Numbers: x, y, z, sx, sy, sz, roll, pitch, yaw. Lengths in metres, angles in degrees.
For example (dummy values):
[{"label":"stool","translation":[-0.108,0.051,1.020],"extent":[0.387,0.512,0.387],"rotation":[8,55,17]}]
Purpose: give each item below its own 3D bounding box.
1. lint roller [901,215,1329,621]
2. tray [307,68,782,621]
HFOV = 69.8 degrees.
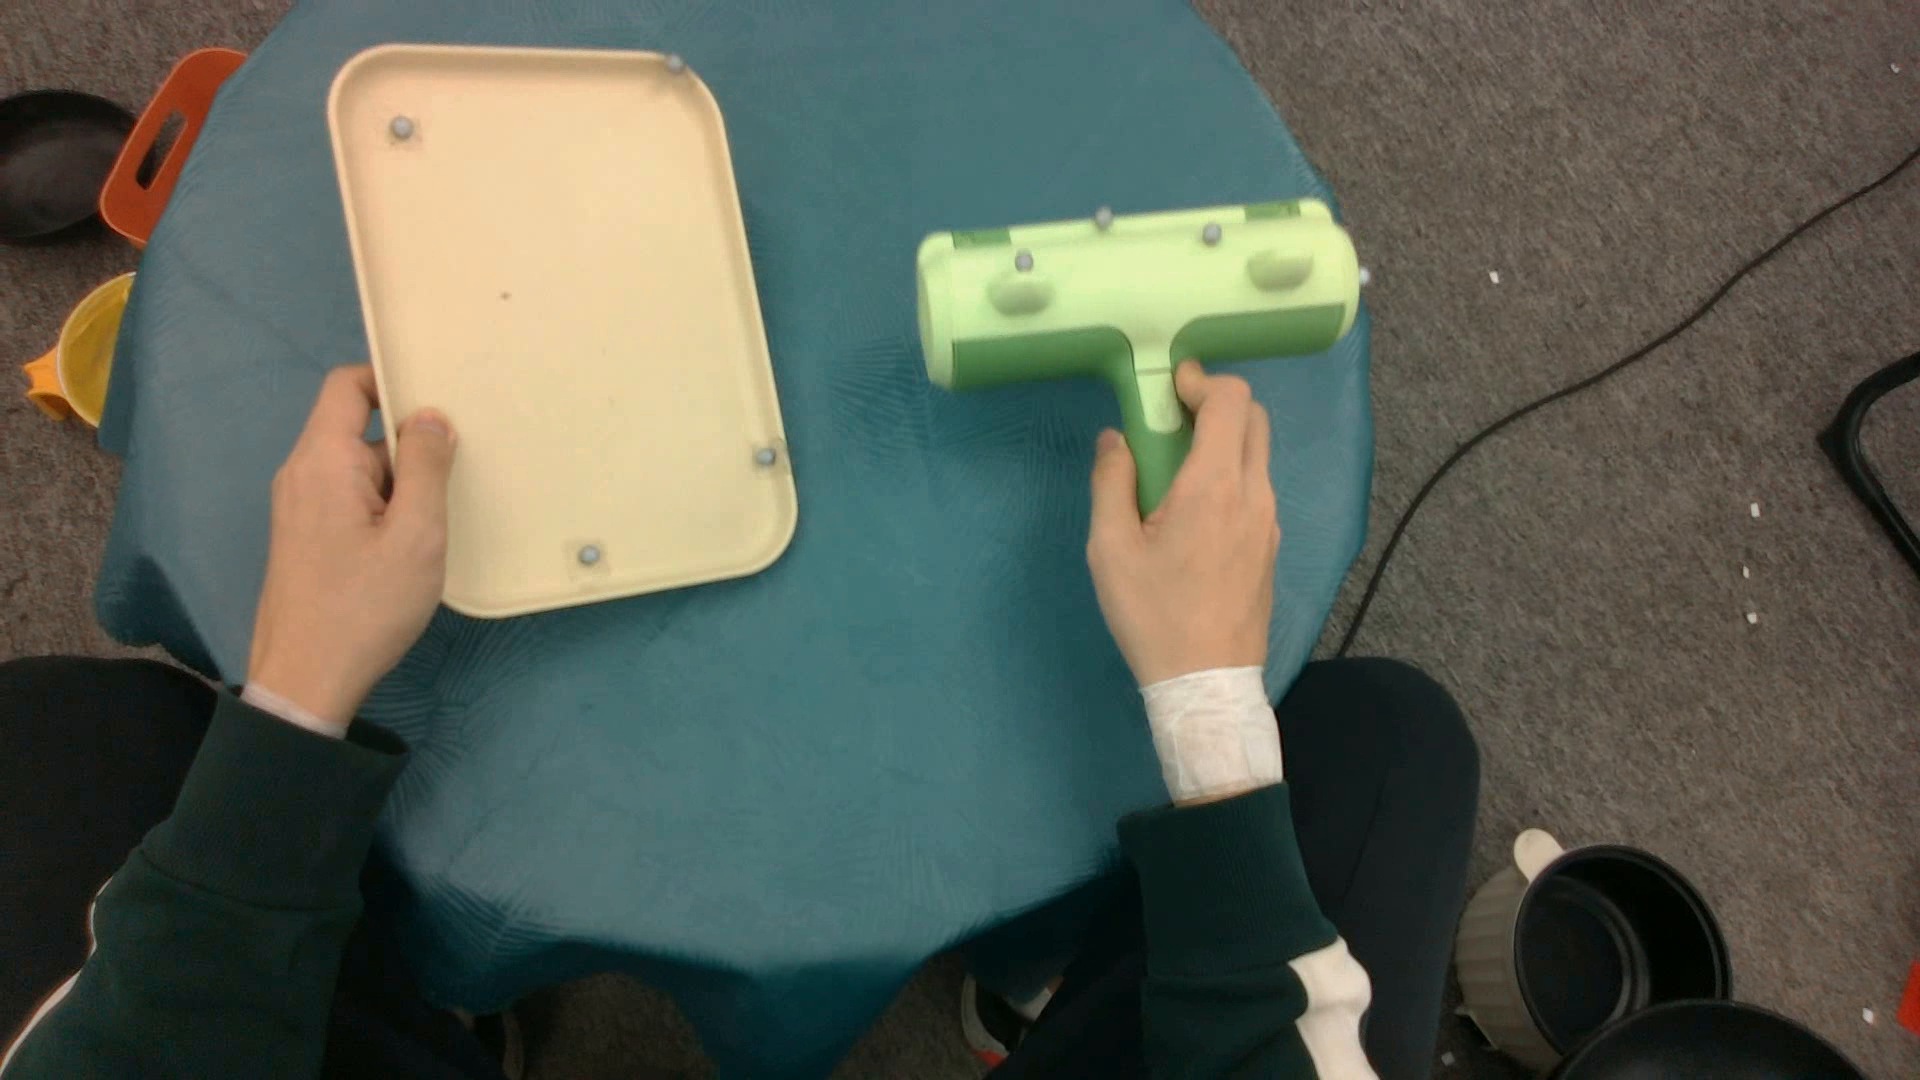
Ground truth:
[{"label":"lint roller","translation":[0.083,-0.060,0.617],"extent":[0.199,0.082,0.184],"rotation":[-8,67,-8]},{"label":"tray","translation":[-0.178,-0.091,0.608],"extent":[0.172,0.017,0.240],"rotation":[-11,86,-31]}]
